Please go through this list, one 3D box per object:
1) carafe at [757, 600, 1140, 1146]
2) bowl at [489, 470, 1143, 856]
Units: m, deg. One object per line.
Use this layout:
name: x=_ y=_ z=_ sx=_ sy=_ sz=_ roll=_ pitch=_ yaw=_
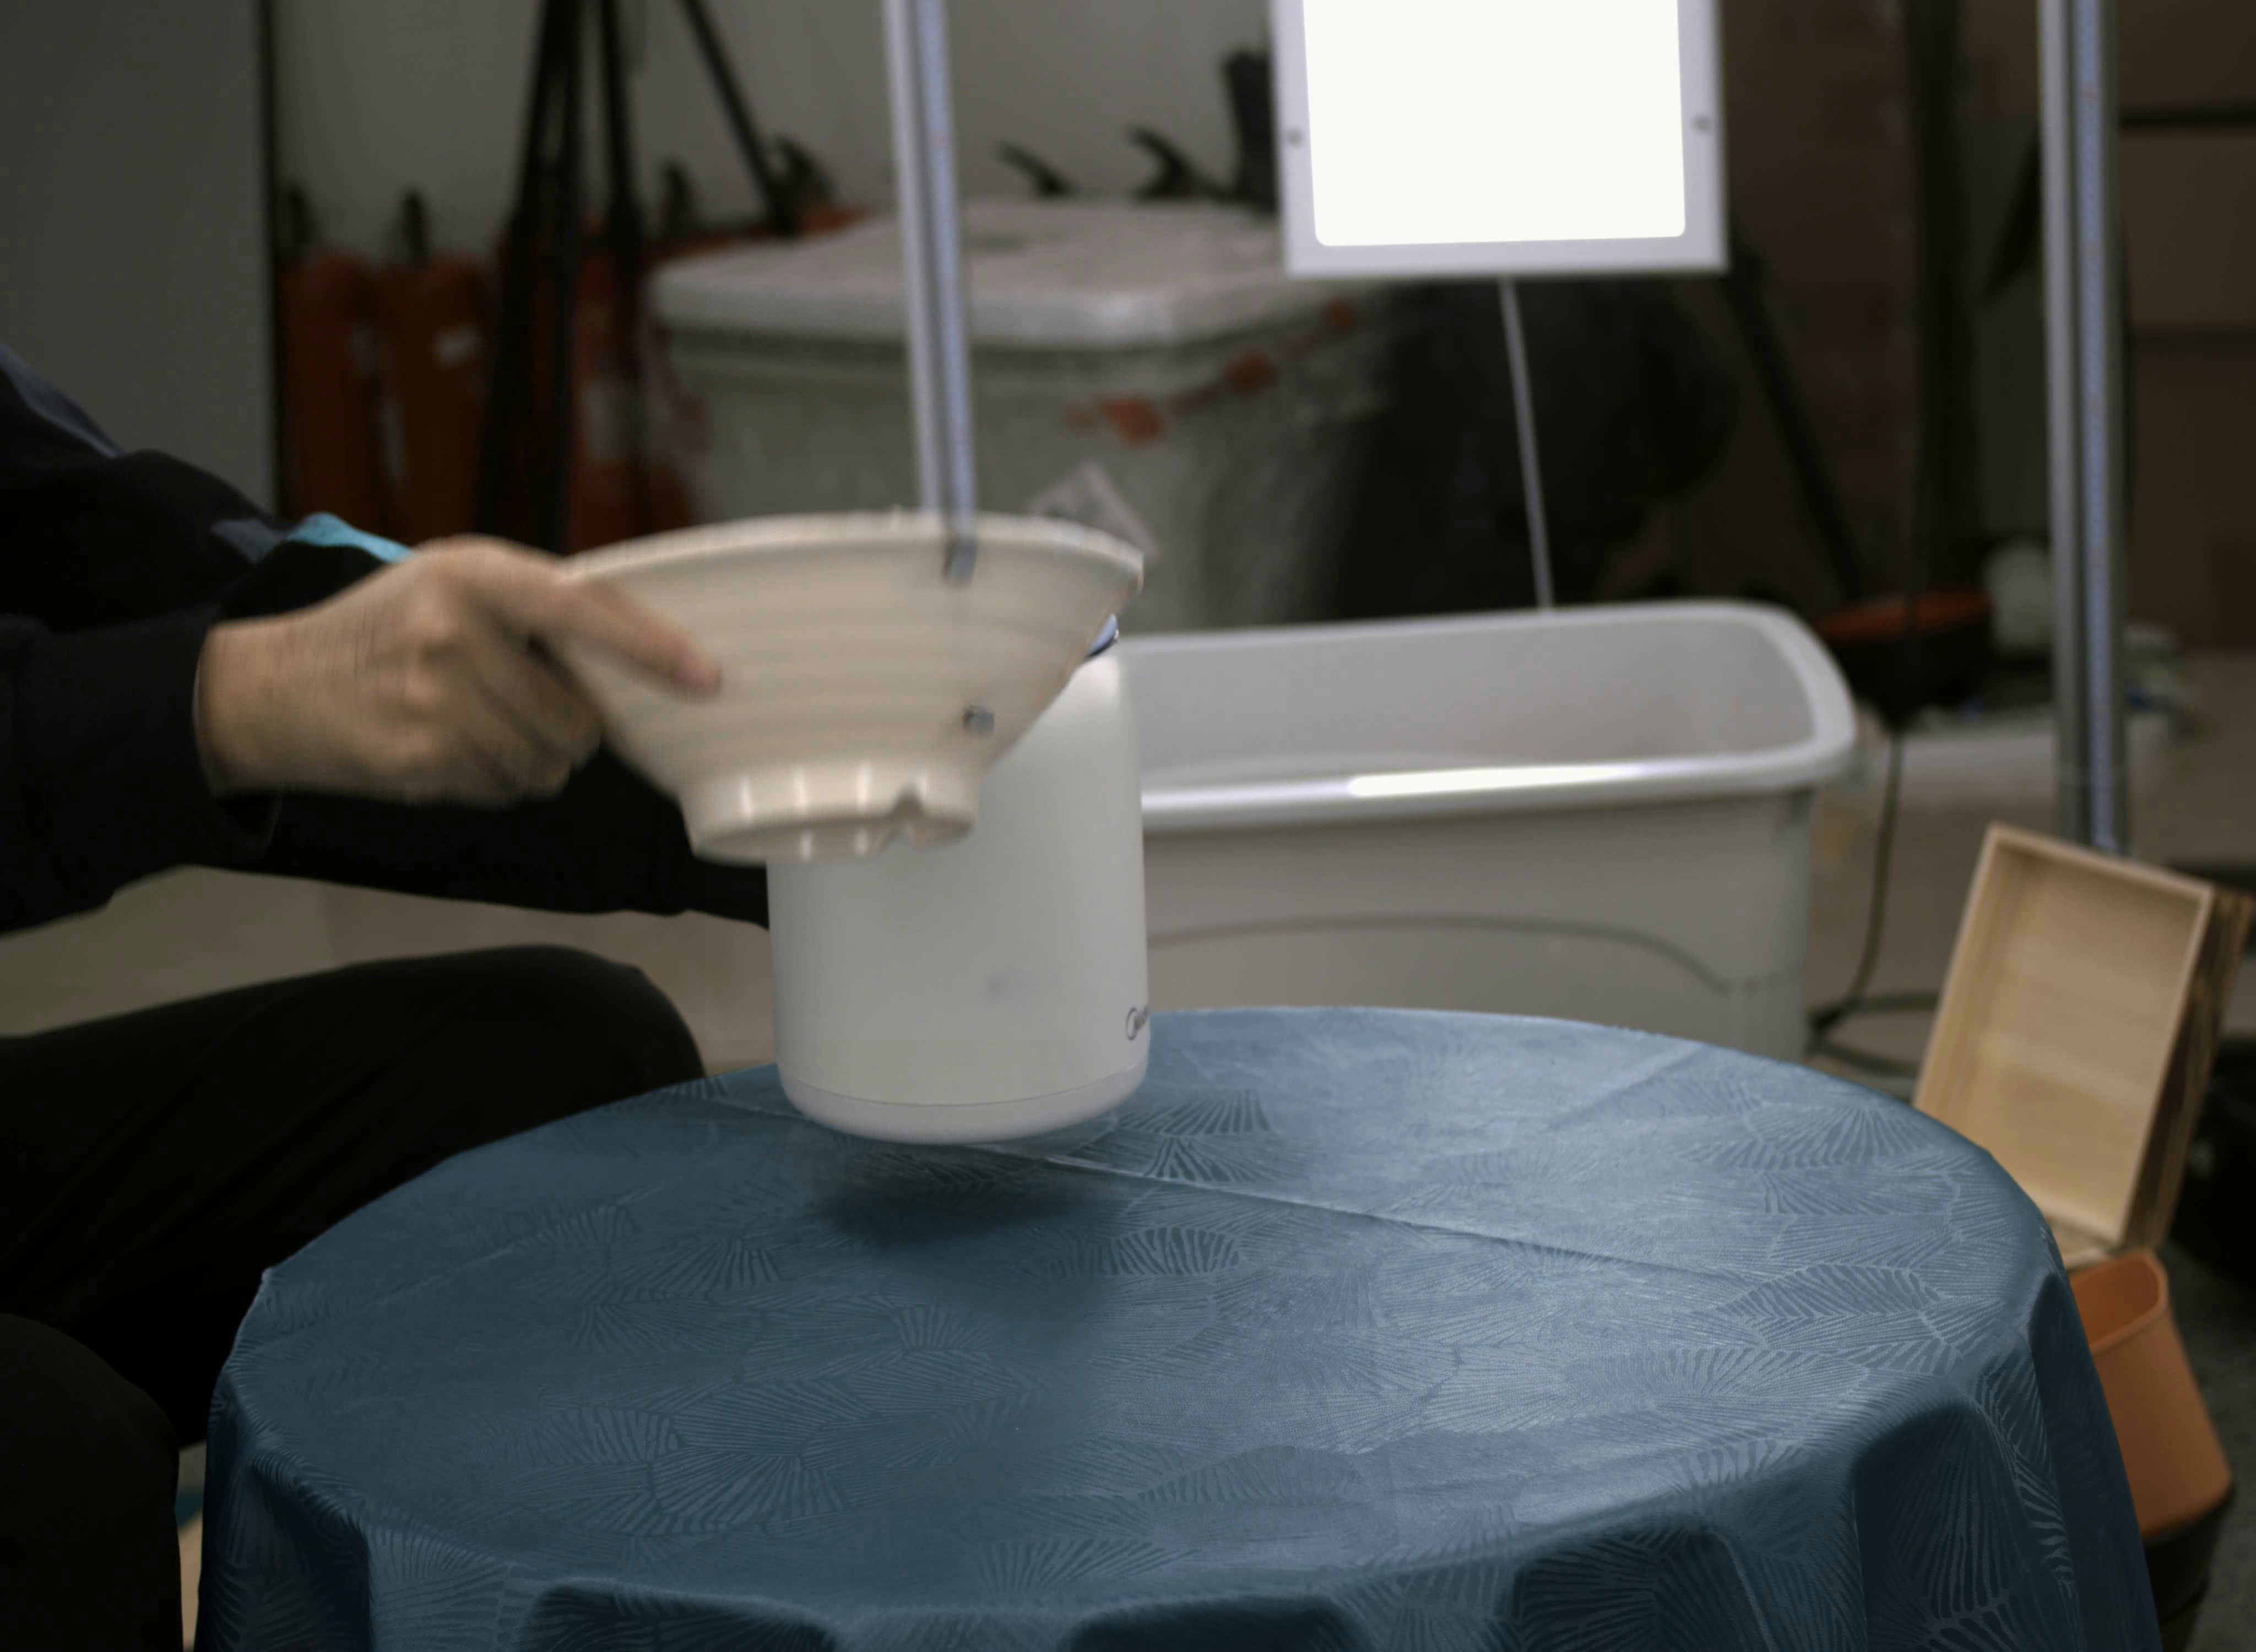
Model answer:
carafe: x=-0.056 y=0.005 z=1.924 sx=0.133 sy=0.183 sz=0.188 roll=3 pitch=15 yaw=14
bowl: x=-0.090 y=-0.040 z=1.685 sx=0.203 sy=0.078 sz=0.204 roll=-8 pitch=-14 yaw=-3
